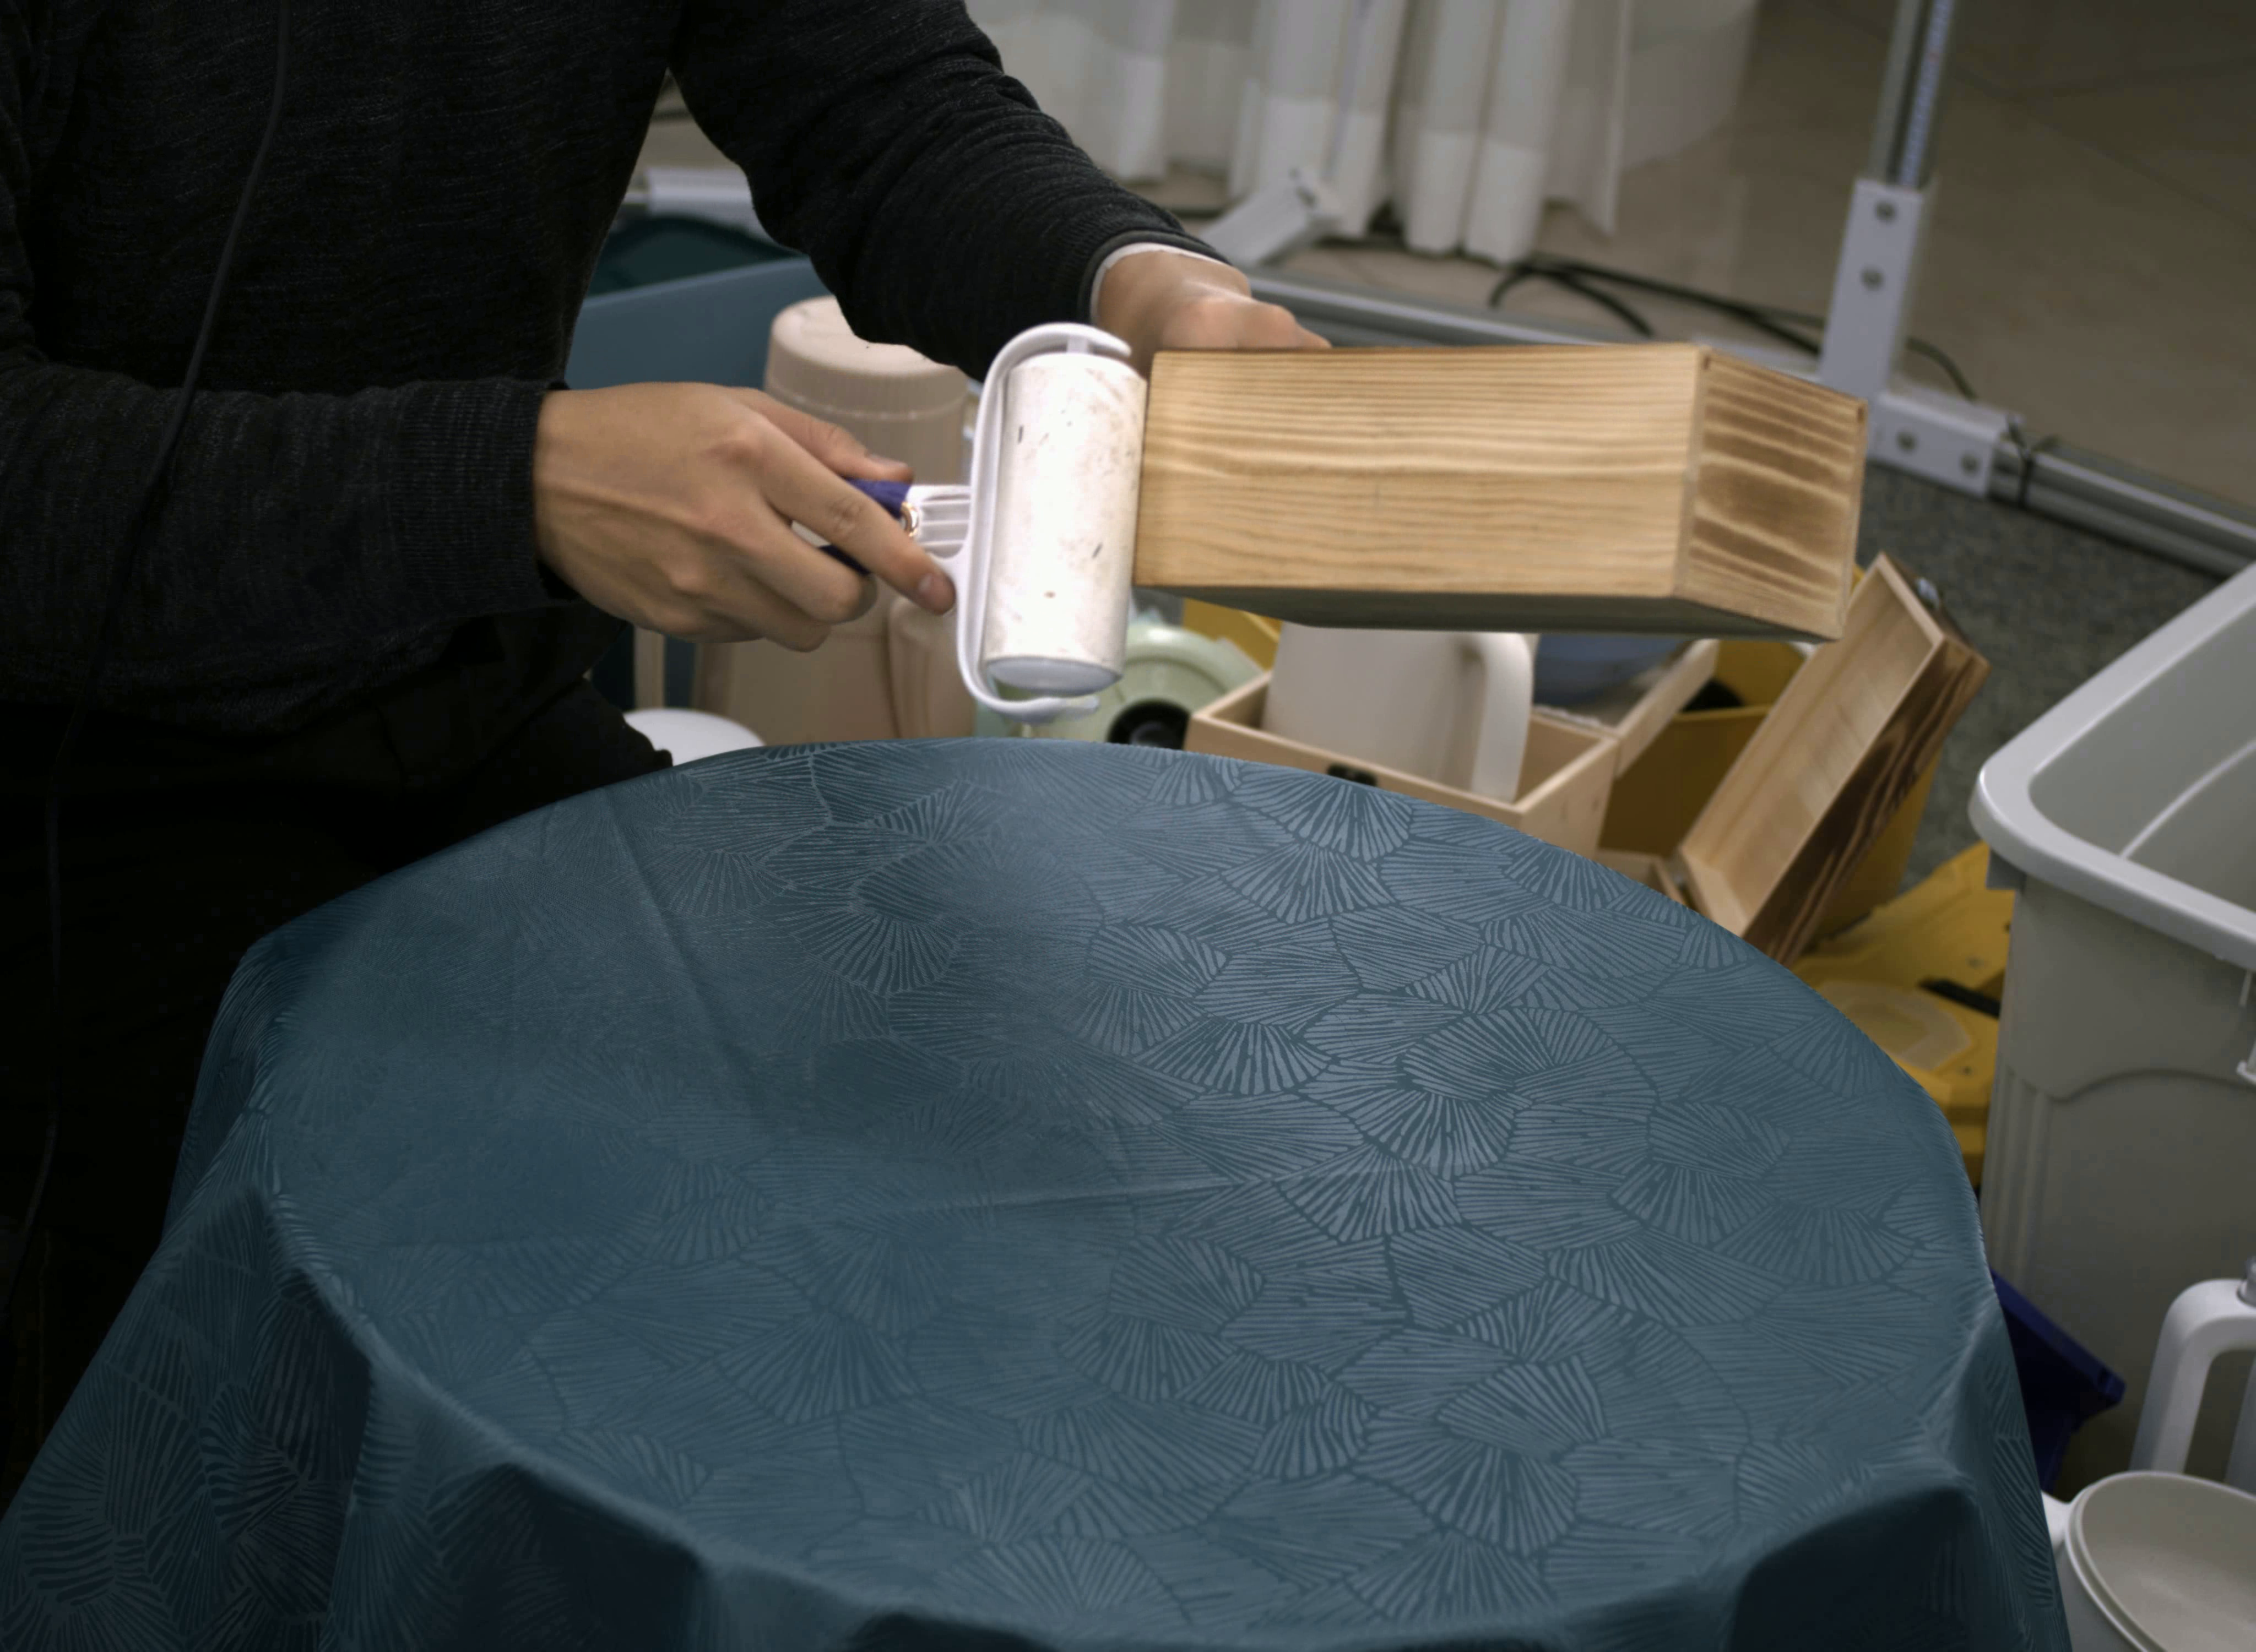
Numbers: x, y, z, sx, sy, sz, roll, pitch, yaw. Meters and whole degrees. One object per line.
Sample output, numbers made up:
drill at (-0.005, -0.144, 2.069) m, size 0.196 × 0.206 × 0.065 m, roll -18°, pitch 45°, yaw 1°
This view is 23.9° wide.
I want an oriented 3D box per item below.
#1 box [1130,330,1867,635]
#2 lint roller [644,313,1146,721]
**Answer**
box at (0.118, -0.109, 1.719) m, size 0.212 × 0.080 × 0.106 m, roll 3°, pitch -5°, yaw 37°
lint roller at (-0.083, -0.104, 1.760) m, size 0.181 × 0.133 × 0.050 m, roll 3°, pitch -8°, yaw 18°
